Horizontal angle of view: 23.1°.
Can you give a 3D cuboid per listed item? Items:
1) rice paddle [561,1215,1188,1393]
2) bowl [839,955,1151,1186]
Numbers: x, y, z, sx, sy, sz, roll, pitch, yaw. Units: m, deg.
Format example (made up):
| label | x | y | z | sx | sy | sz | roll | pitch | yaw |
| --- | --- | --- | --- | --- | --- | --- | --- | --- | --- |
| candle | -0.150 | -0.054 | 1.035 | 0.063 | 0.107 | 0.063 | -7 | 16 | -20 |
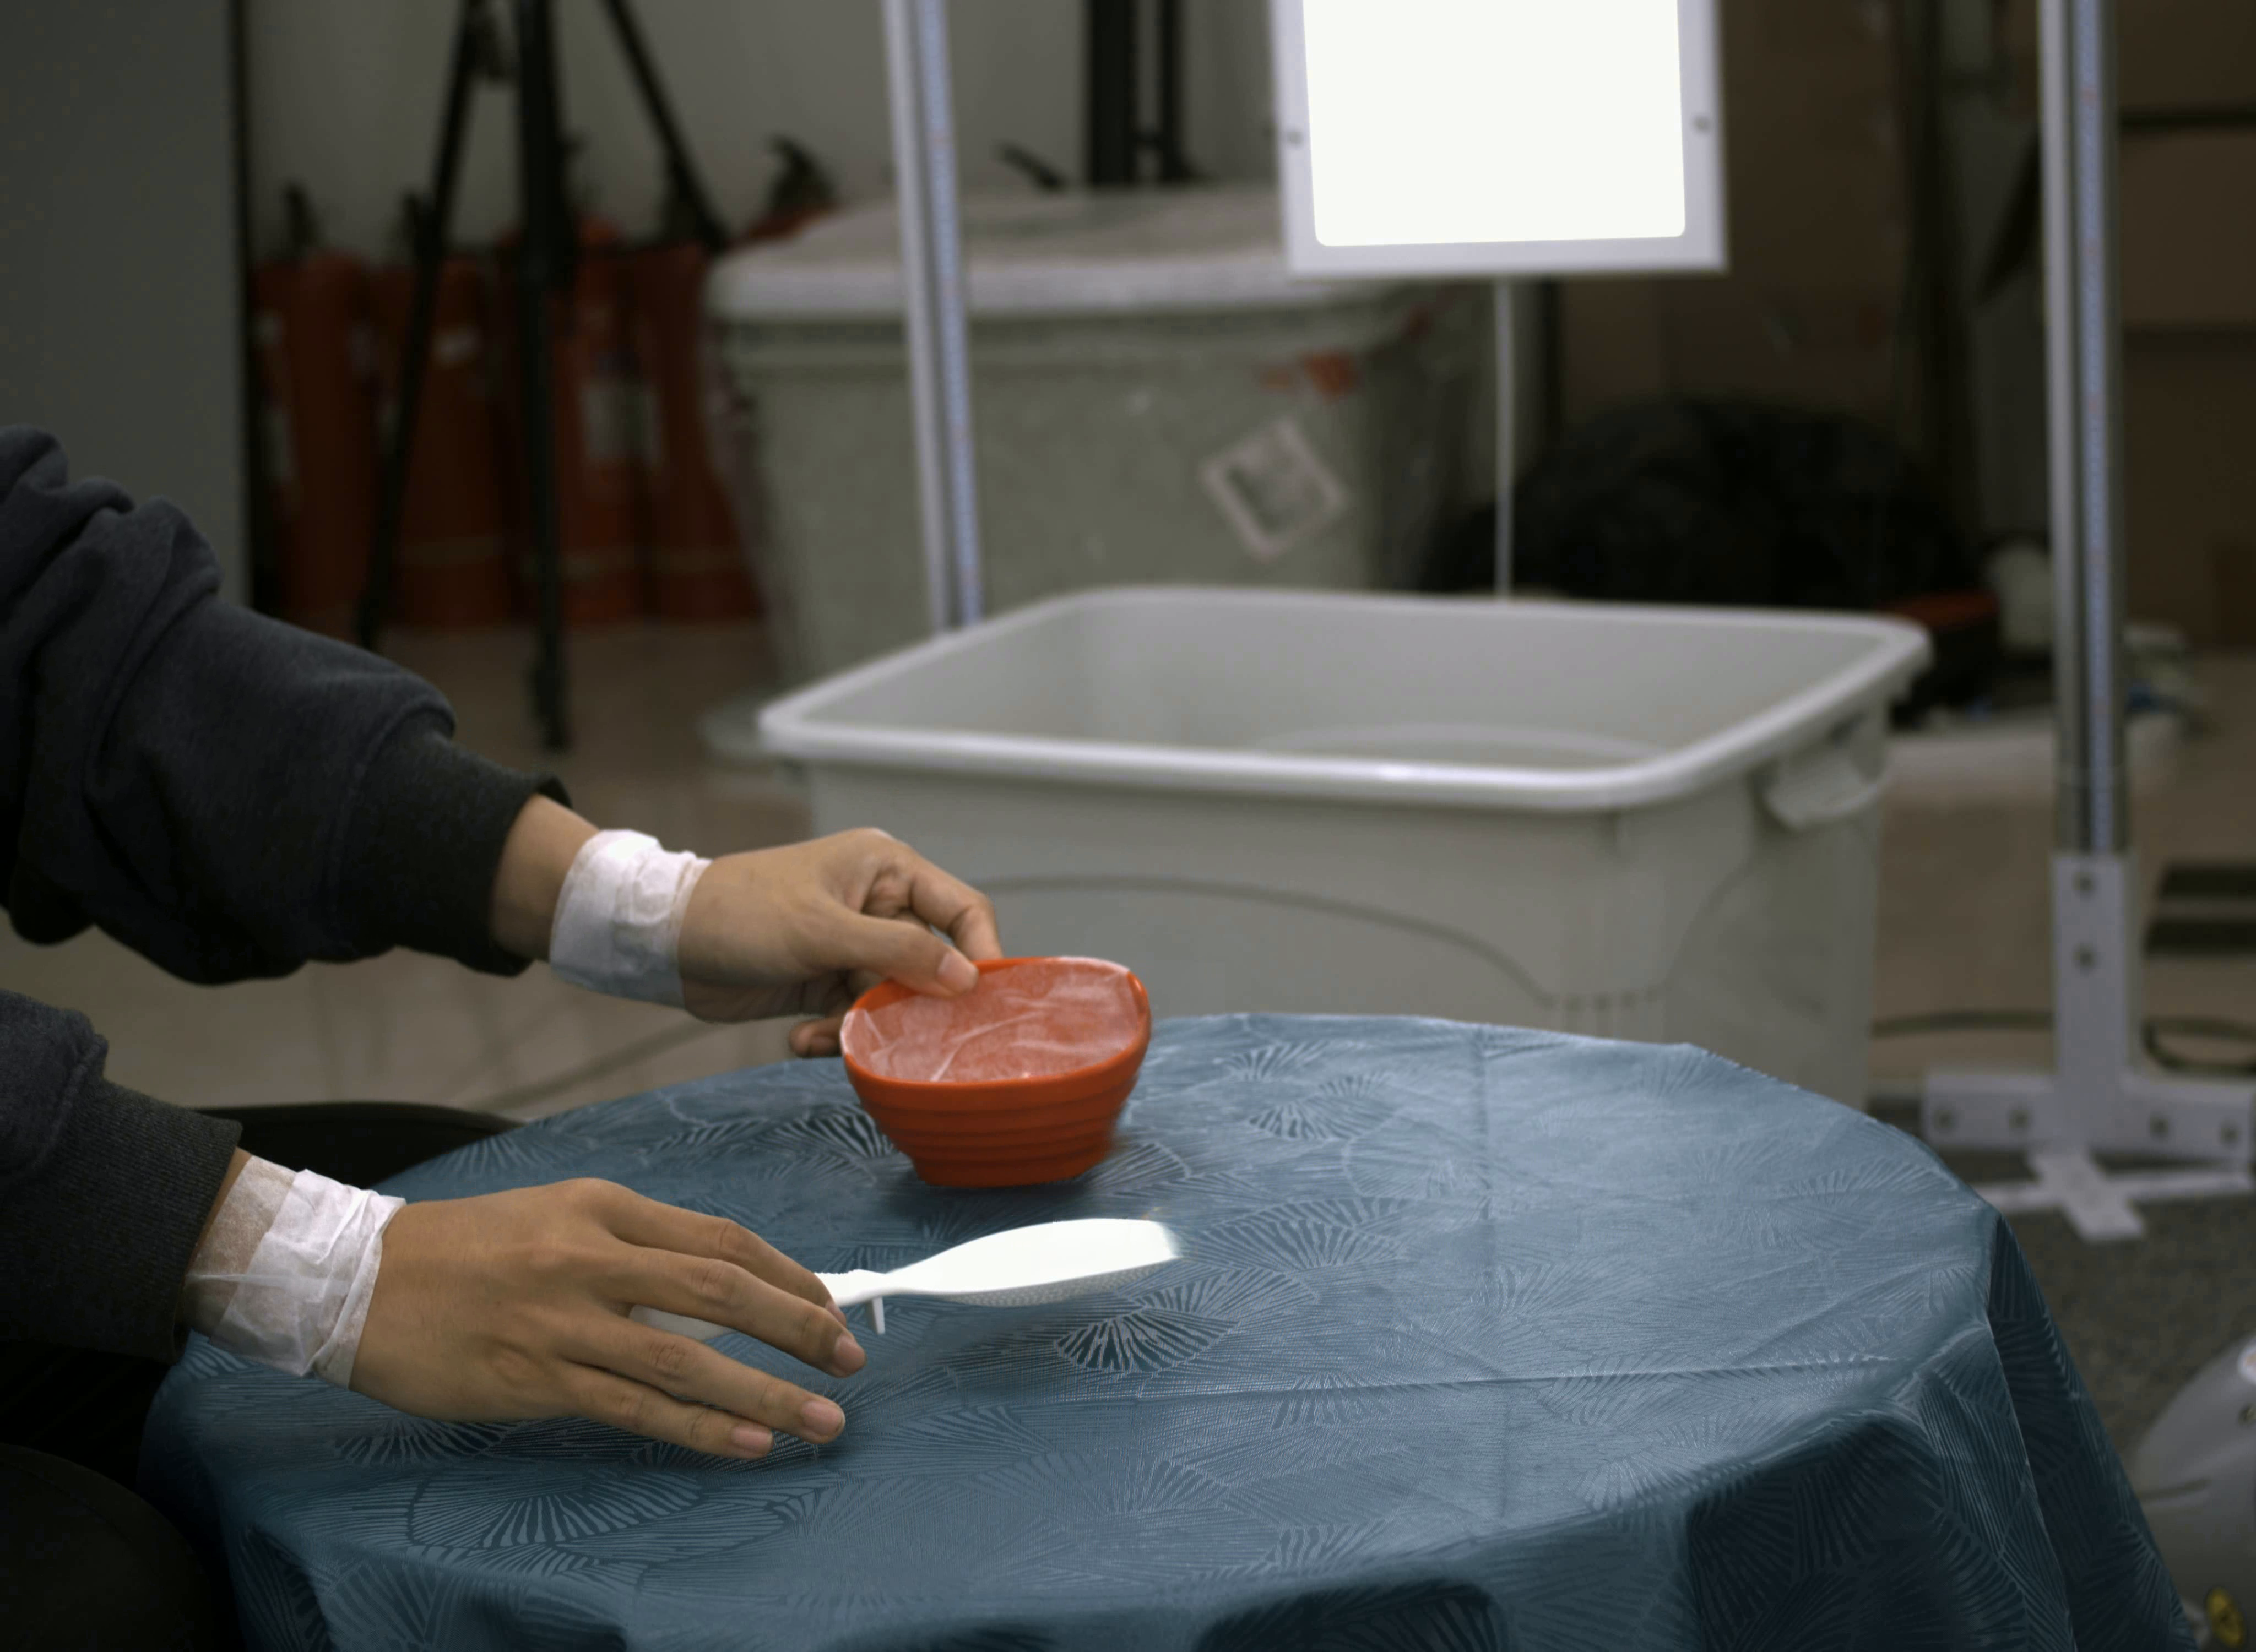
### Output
| label | x | y | z | sx | sy | sz | roll | pitch | yaw |
| --- | --- | --- | --- | --- | --- | --- | --- | --- | --- |
| rice paddle | -0.077 | 0.143 | 1.730 | 0.202 | 0.029 | 0.069 | -10 | 13 | -18 |
| bowl | -0.045 | 0.089 | 1.936 | 0.118 | 0.051 | 0.118 | -4 | 22 | 0 |
